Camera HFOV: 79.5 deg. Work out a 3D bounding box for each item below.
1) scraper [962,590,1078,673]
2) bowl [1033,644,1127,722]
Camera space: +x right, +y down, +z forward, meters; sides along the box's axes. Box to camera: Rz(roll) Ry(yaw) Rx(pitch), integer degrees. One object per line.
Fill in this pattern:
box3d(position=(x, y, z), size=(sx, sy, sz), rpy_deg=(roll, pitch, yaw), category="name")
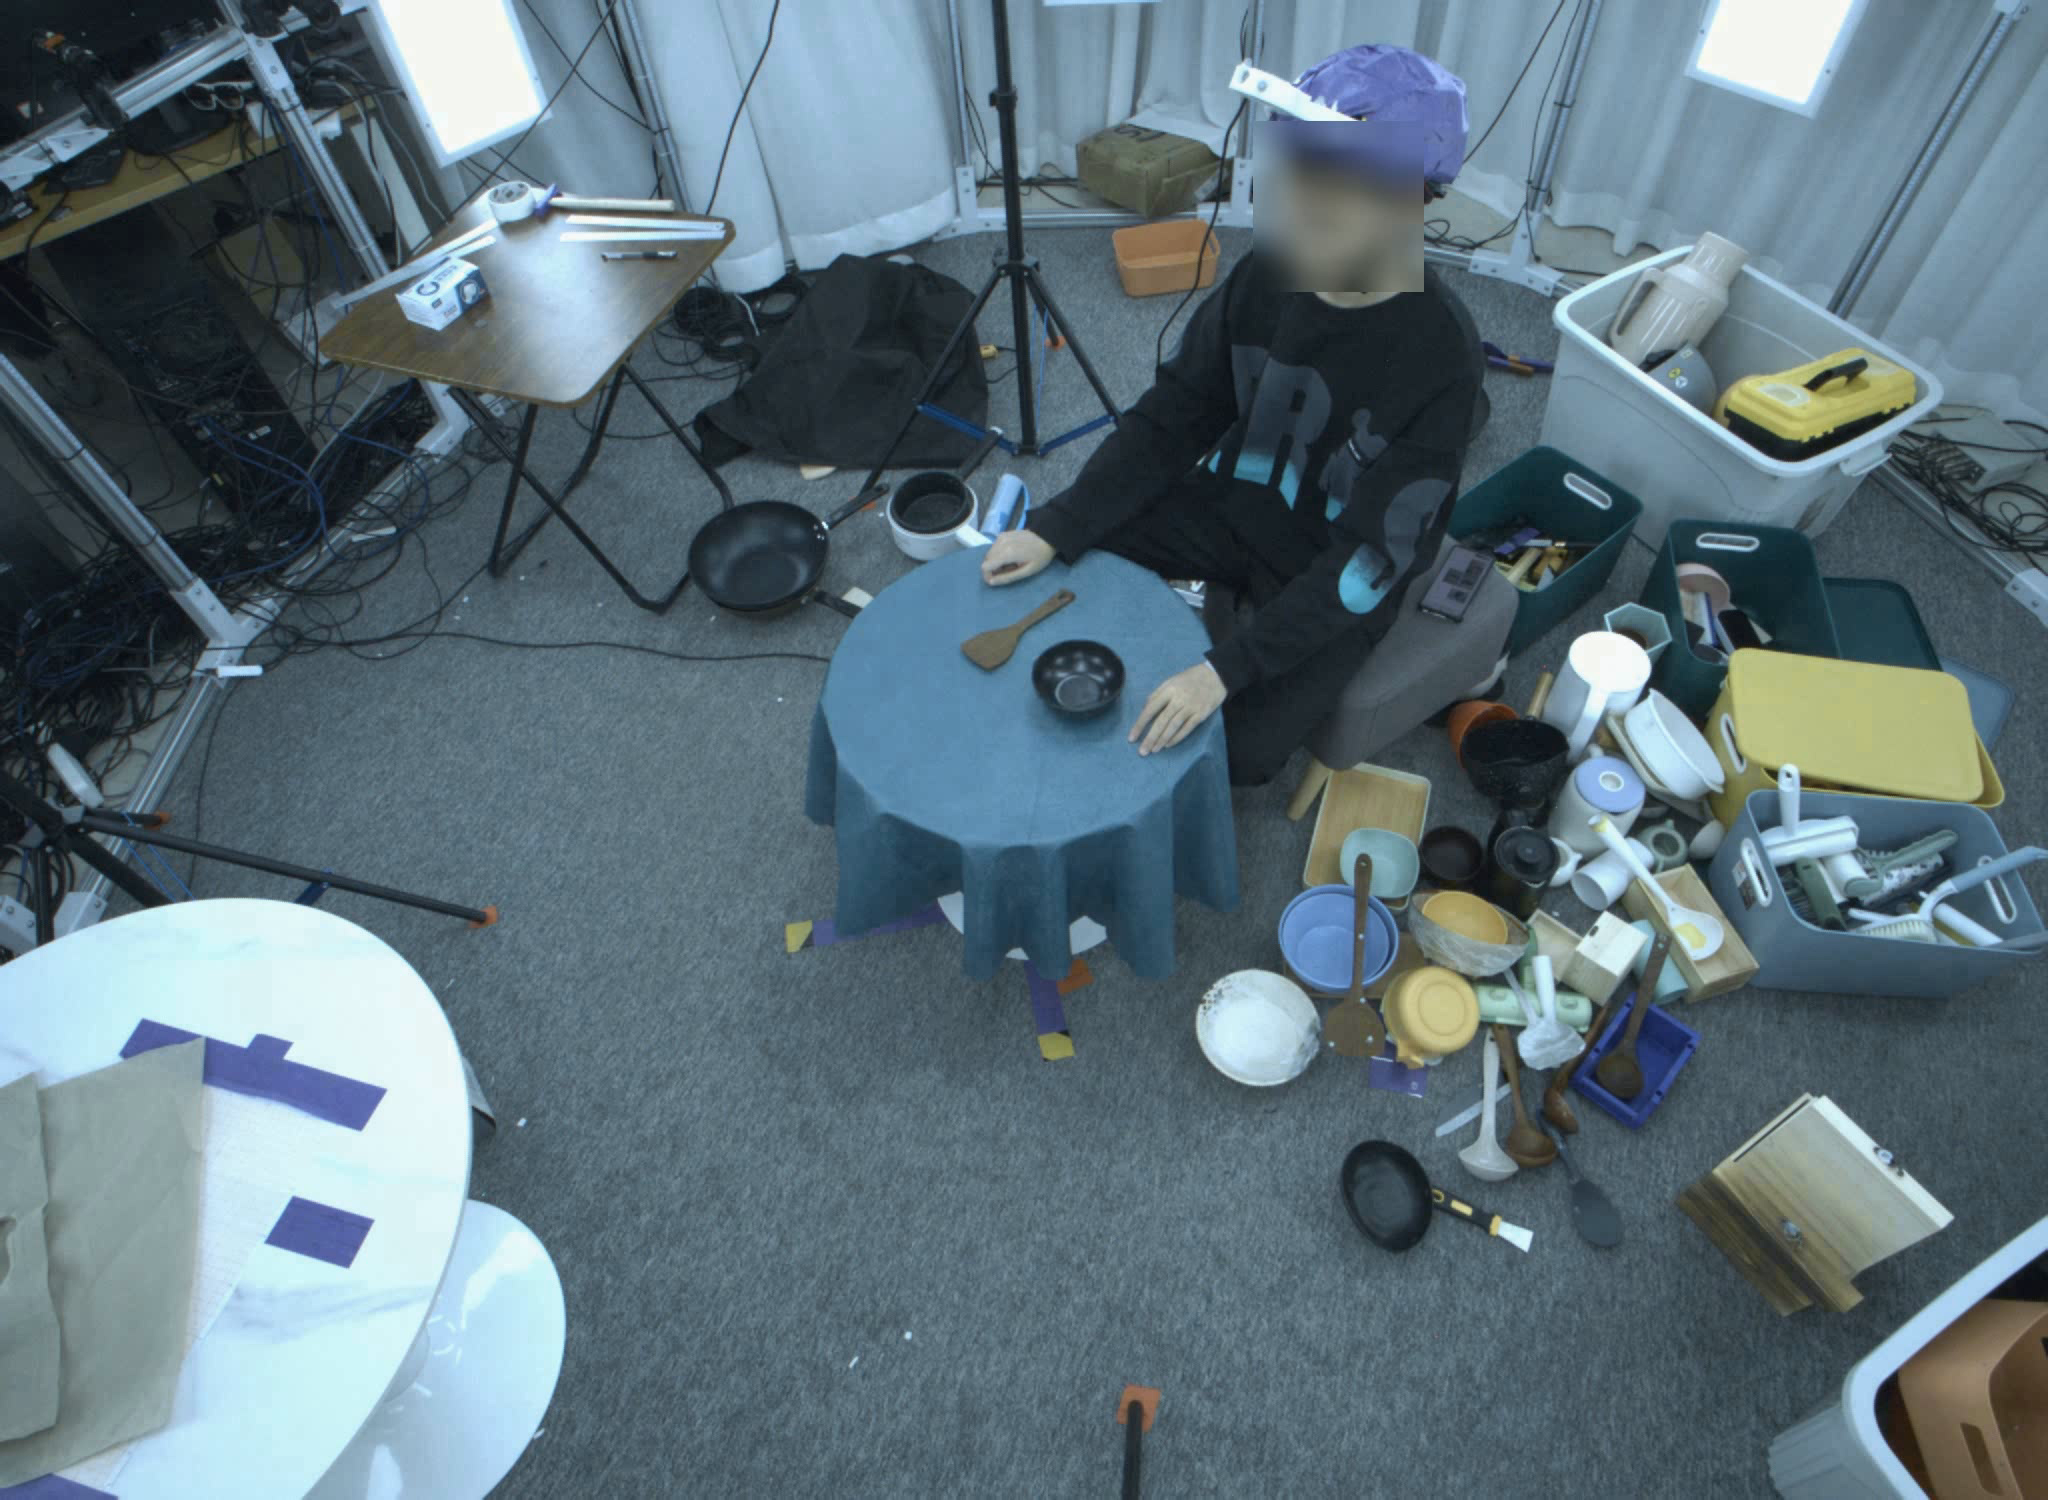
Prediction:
box3d(position=(0.001, -0.191, 1.928), size=(0.213, 0.011, 0.074), rpy_deg=(-37, 63, -22), category="scraper")
box3d(position=(0.084, -0.091, 1.830), size=(0.140, 0.050, 0.138), rpy_deg=(-1, 52, 3), category="bowl")
